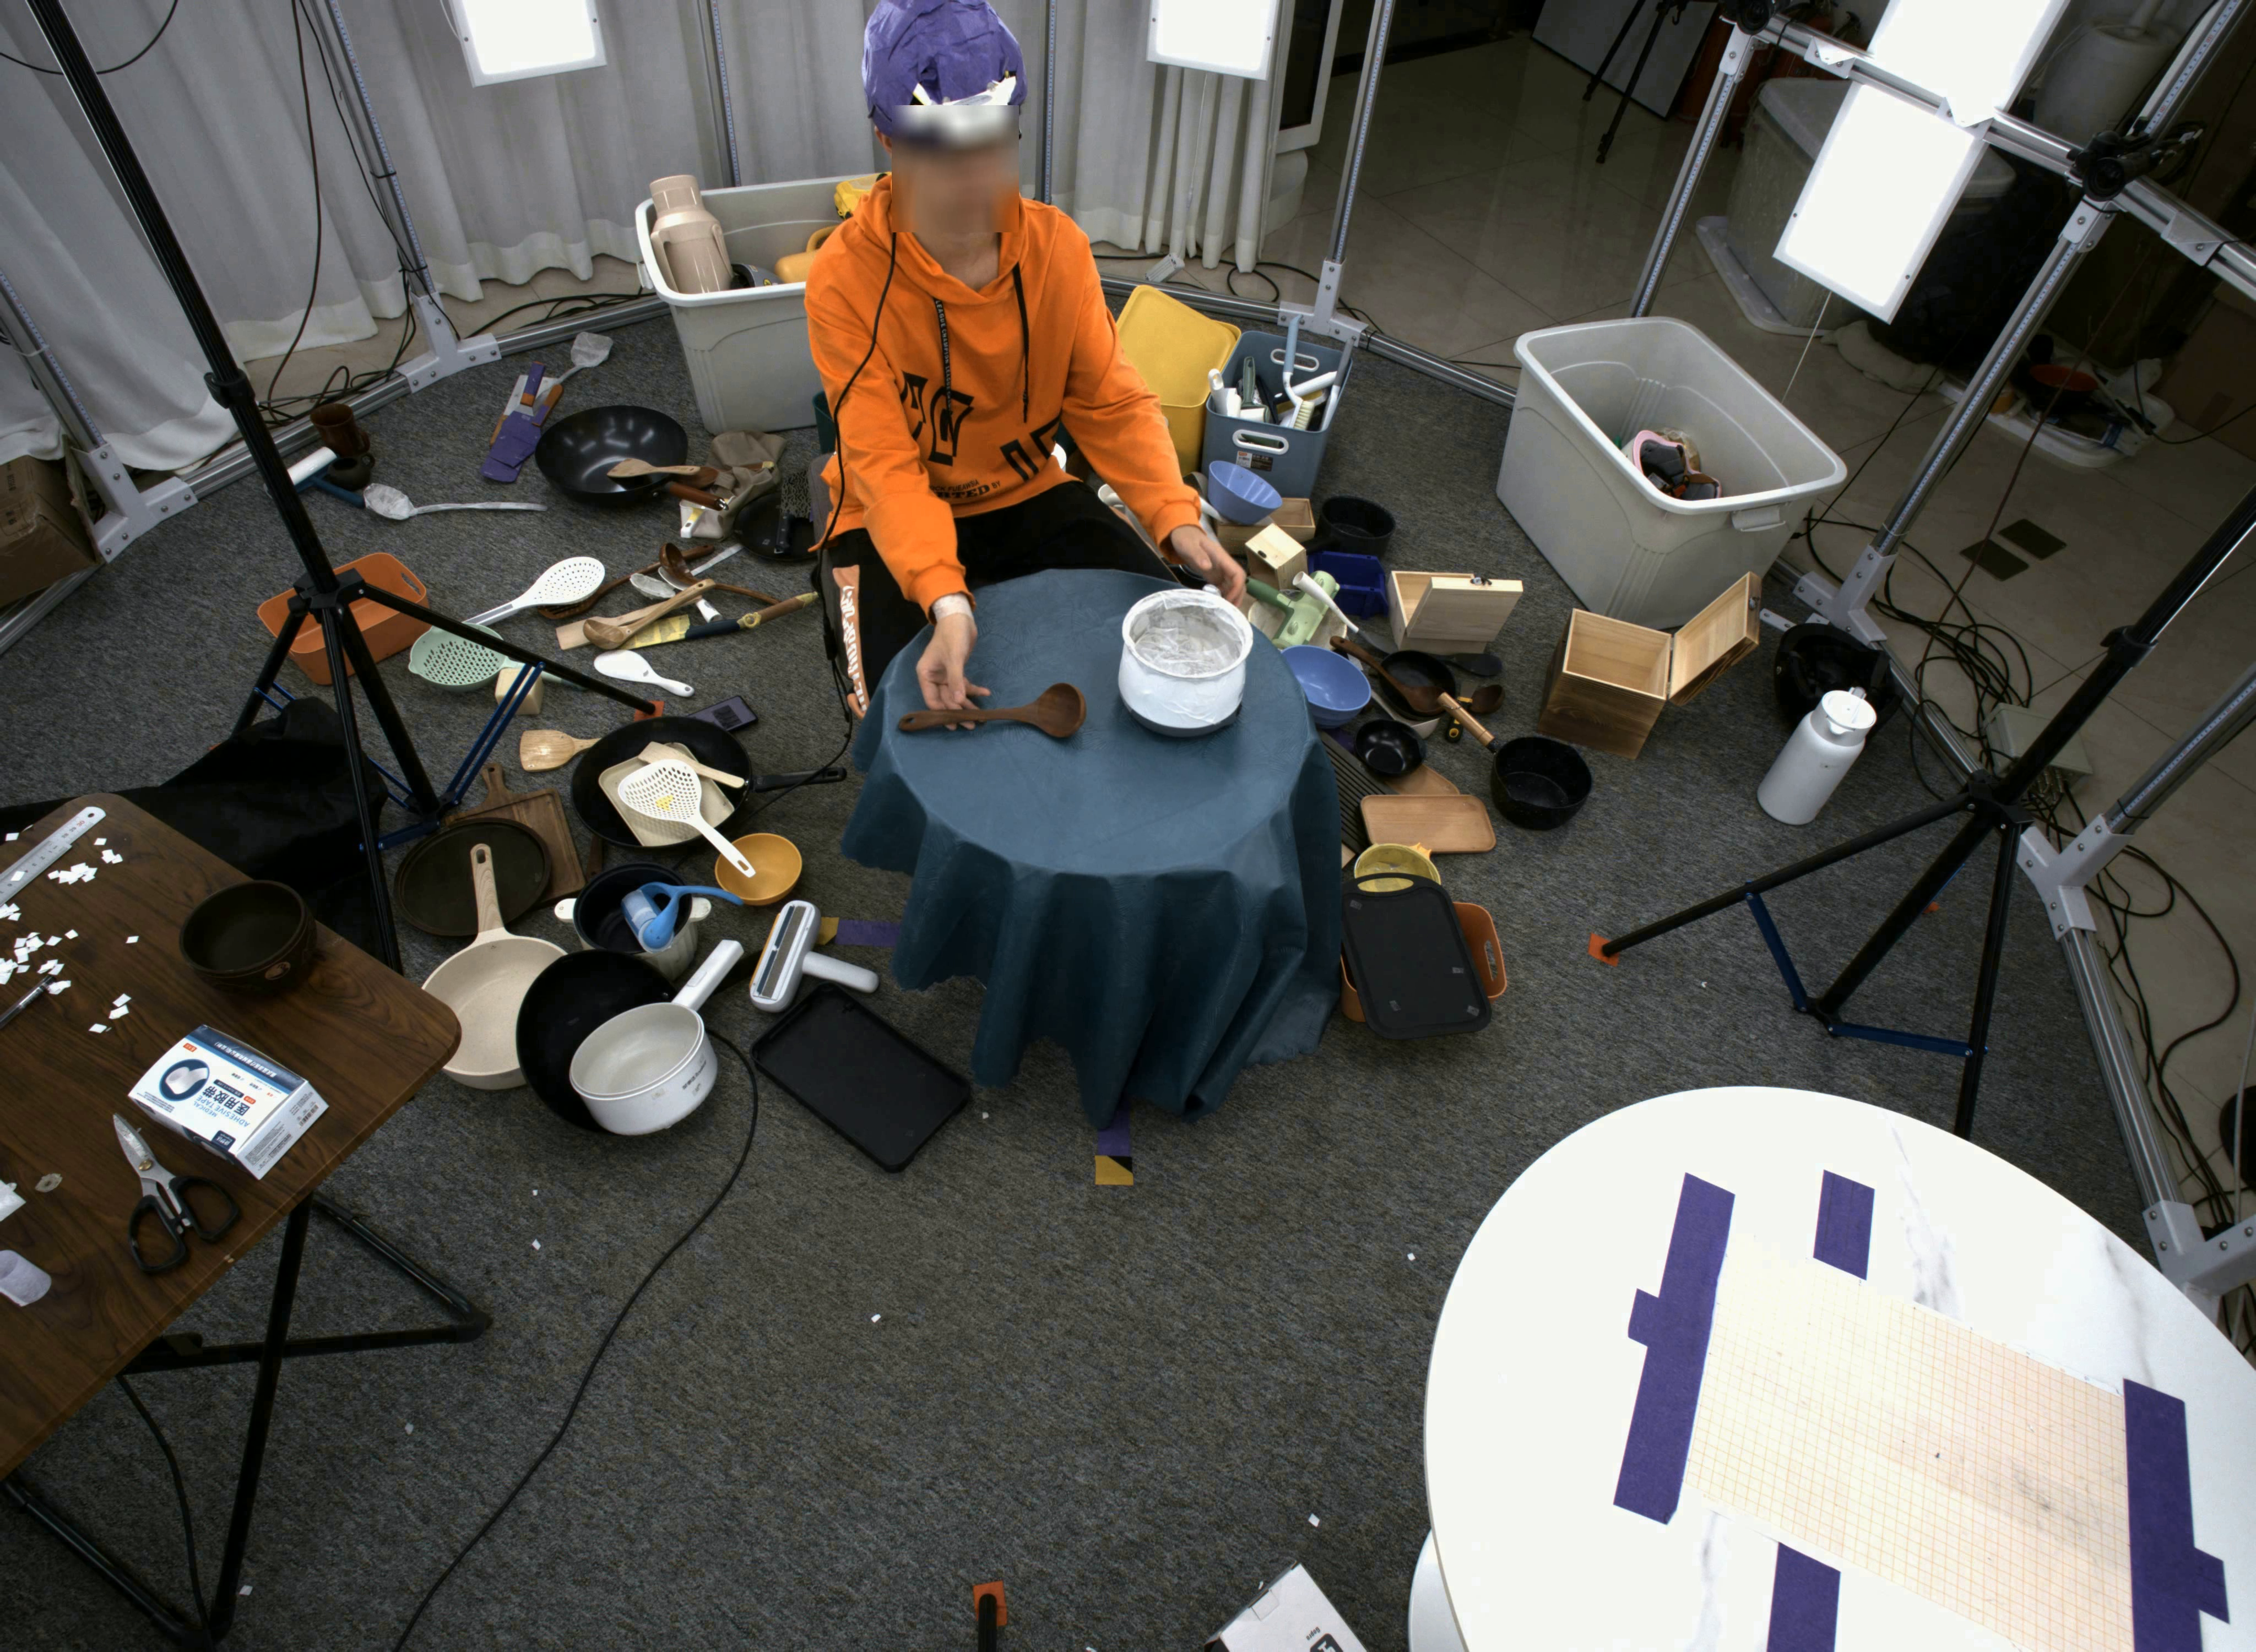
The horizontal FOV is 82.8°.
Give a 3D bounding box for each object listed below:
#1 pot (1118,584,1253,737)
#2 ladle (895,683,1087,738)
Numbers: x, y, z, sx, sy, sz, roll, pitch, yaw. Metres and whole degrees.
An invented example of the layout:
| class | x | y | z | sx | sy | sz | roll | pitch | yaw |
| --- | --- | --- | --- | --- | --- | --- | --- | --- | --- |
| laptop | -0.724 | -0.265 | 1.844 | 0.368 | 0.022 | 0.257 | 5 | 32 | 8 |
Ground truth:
| class | x | y | z | sx | sy | sz | roll | pitch | yaw |
| --- | --- | --- | --- | --- | --- | --- | --- | --- | --- |
| pot | 0.086 | -0.242 | 1.795 | 0.179 | 0.133 | 0.238 | 17 | 51 | 9 |
| ladle | -0.186 | -0.153 | 1.750 | 0.260 | 0.064 | 0.077 | -3 | 75 | -7 |
